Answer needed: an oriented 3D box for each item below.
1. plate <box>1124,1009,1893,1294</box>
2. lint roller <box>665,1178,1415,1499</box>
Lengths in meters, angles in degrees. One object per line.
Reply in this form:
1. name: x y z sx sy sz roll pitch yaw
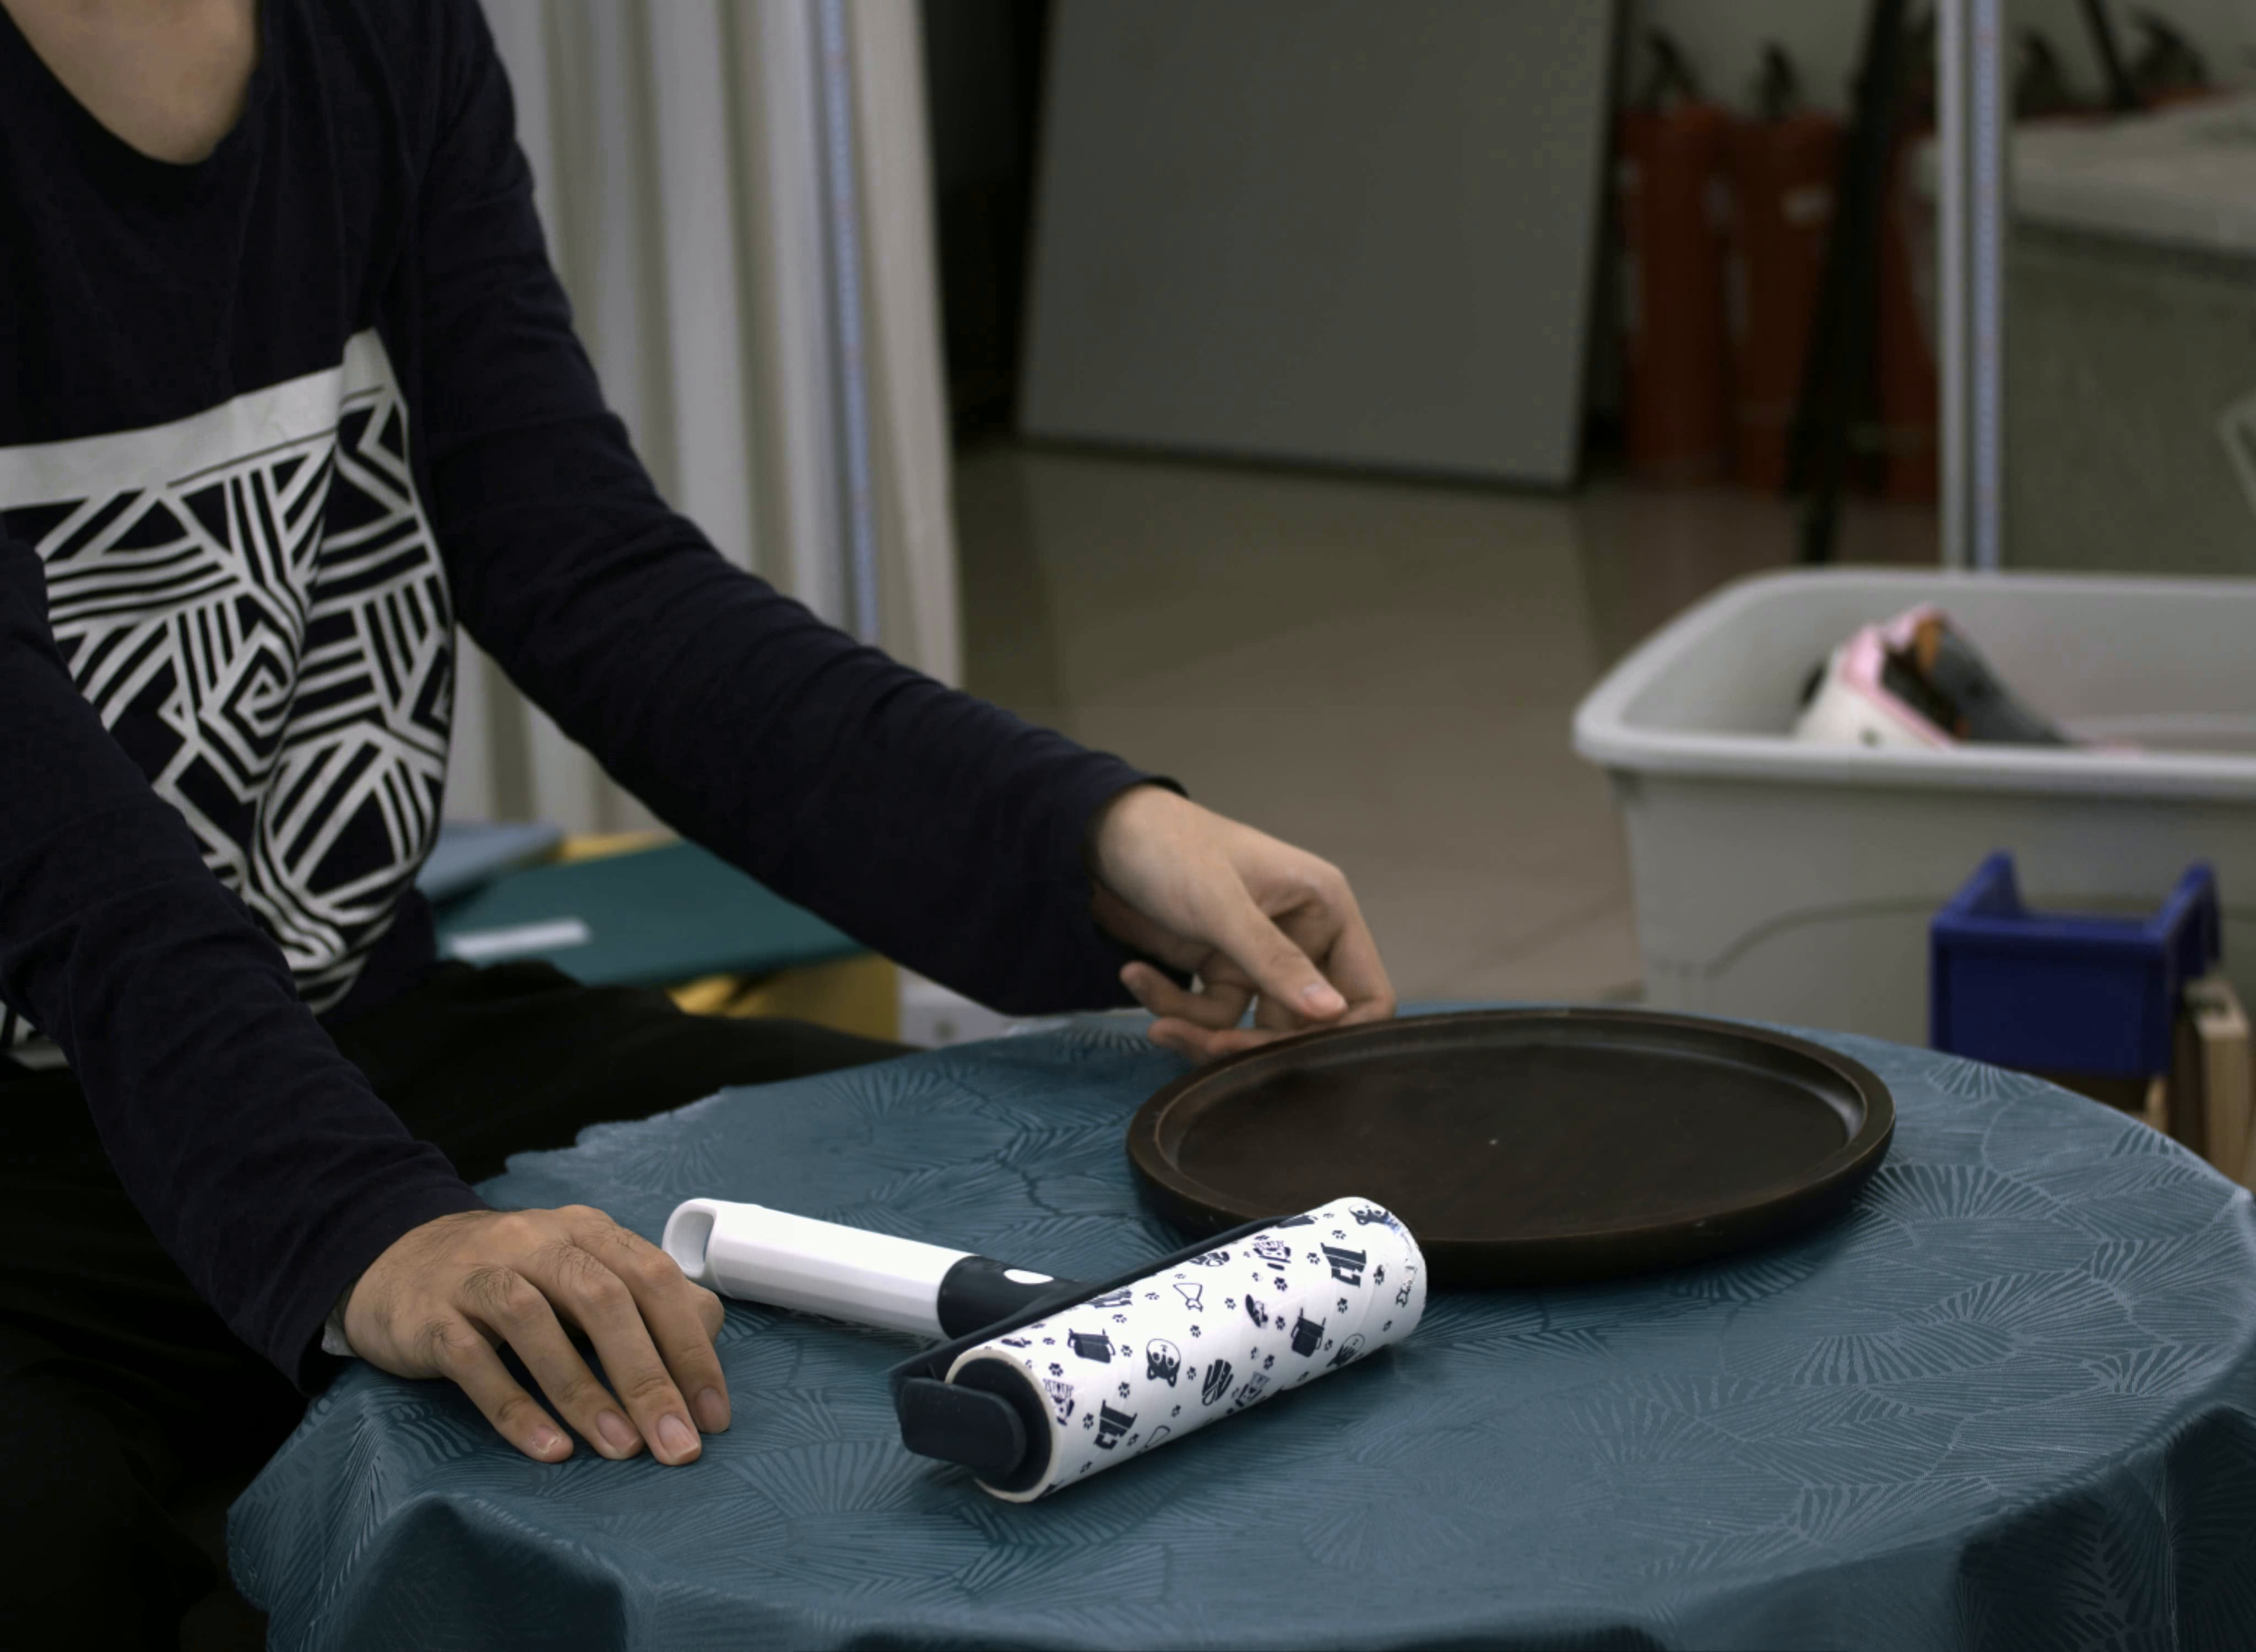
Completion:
1. plate: 0.124 0.105 1.760 0.251 0.029 0.255 -5 12 0
2. lint roller: -0.056 0.140 1.624 0.249 0.051 0.173 6 18 44
